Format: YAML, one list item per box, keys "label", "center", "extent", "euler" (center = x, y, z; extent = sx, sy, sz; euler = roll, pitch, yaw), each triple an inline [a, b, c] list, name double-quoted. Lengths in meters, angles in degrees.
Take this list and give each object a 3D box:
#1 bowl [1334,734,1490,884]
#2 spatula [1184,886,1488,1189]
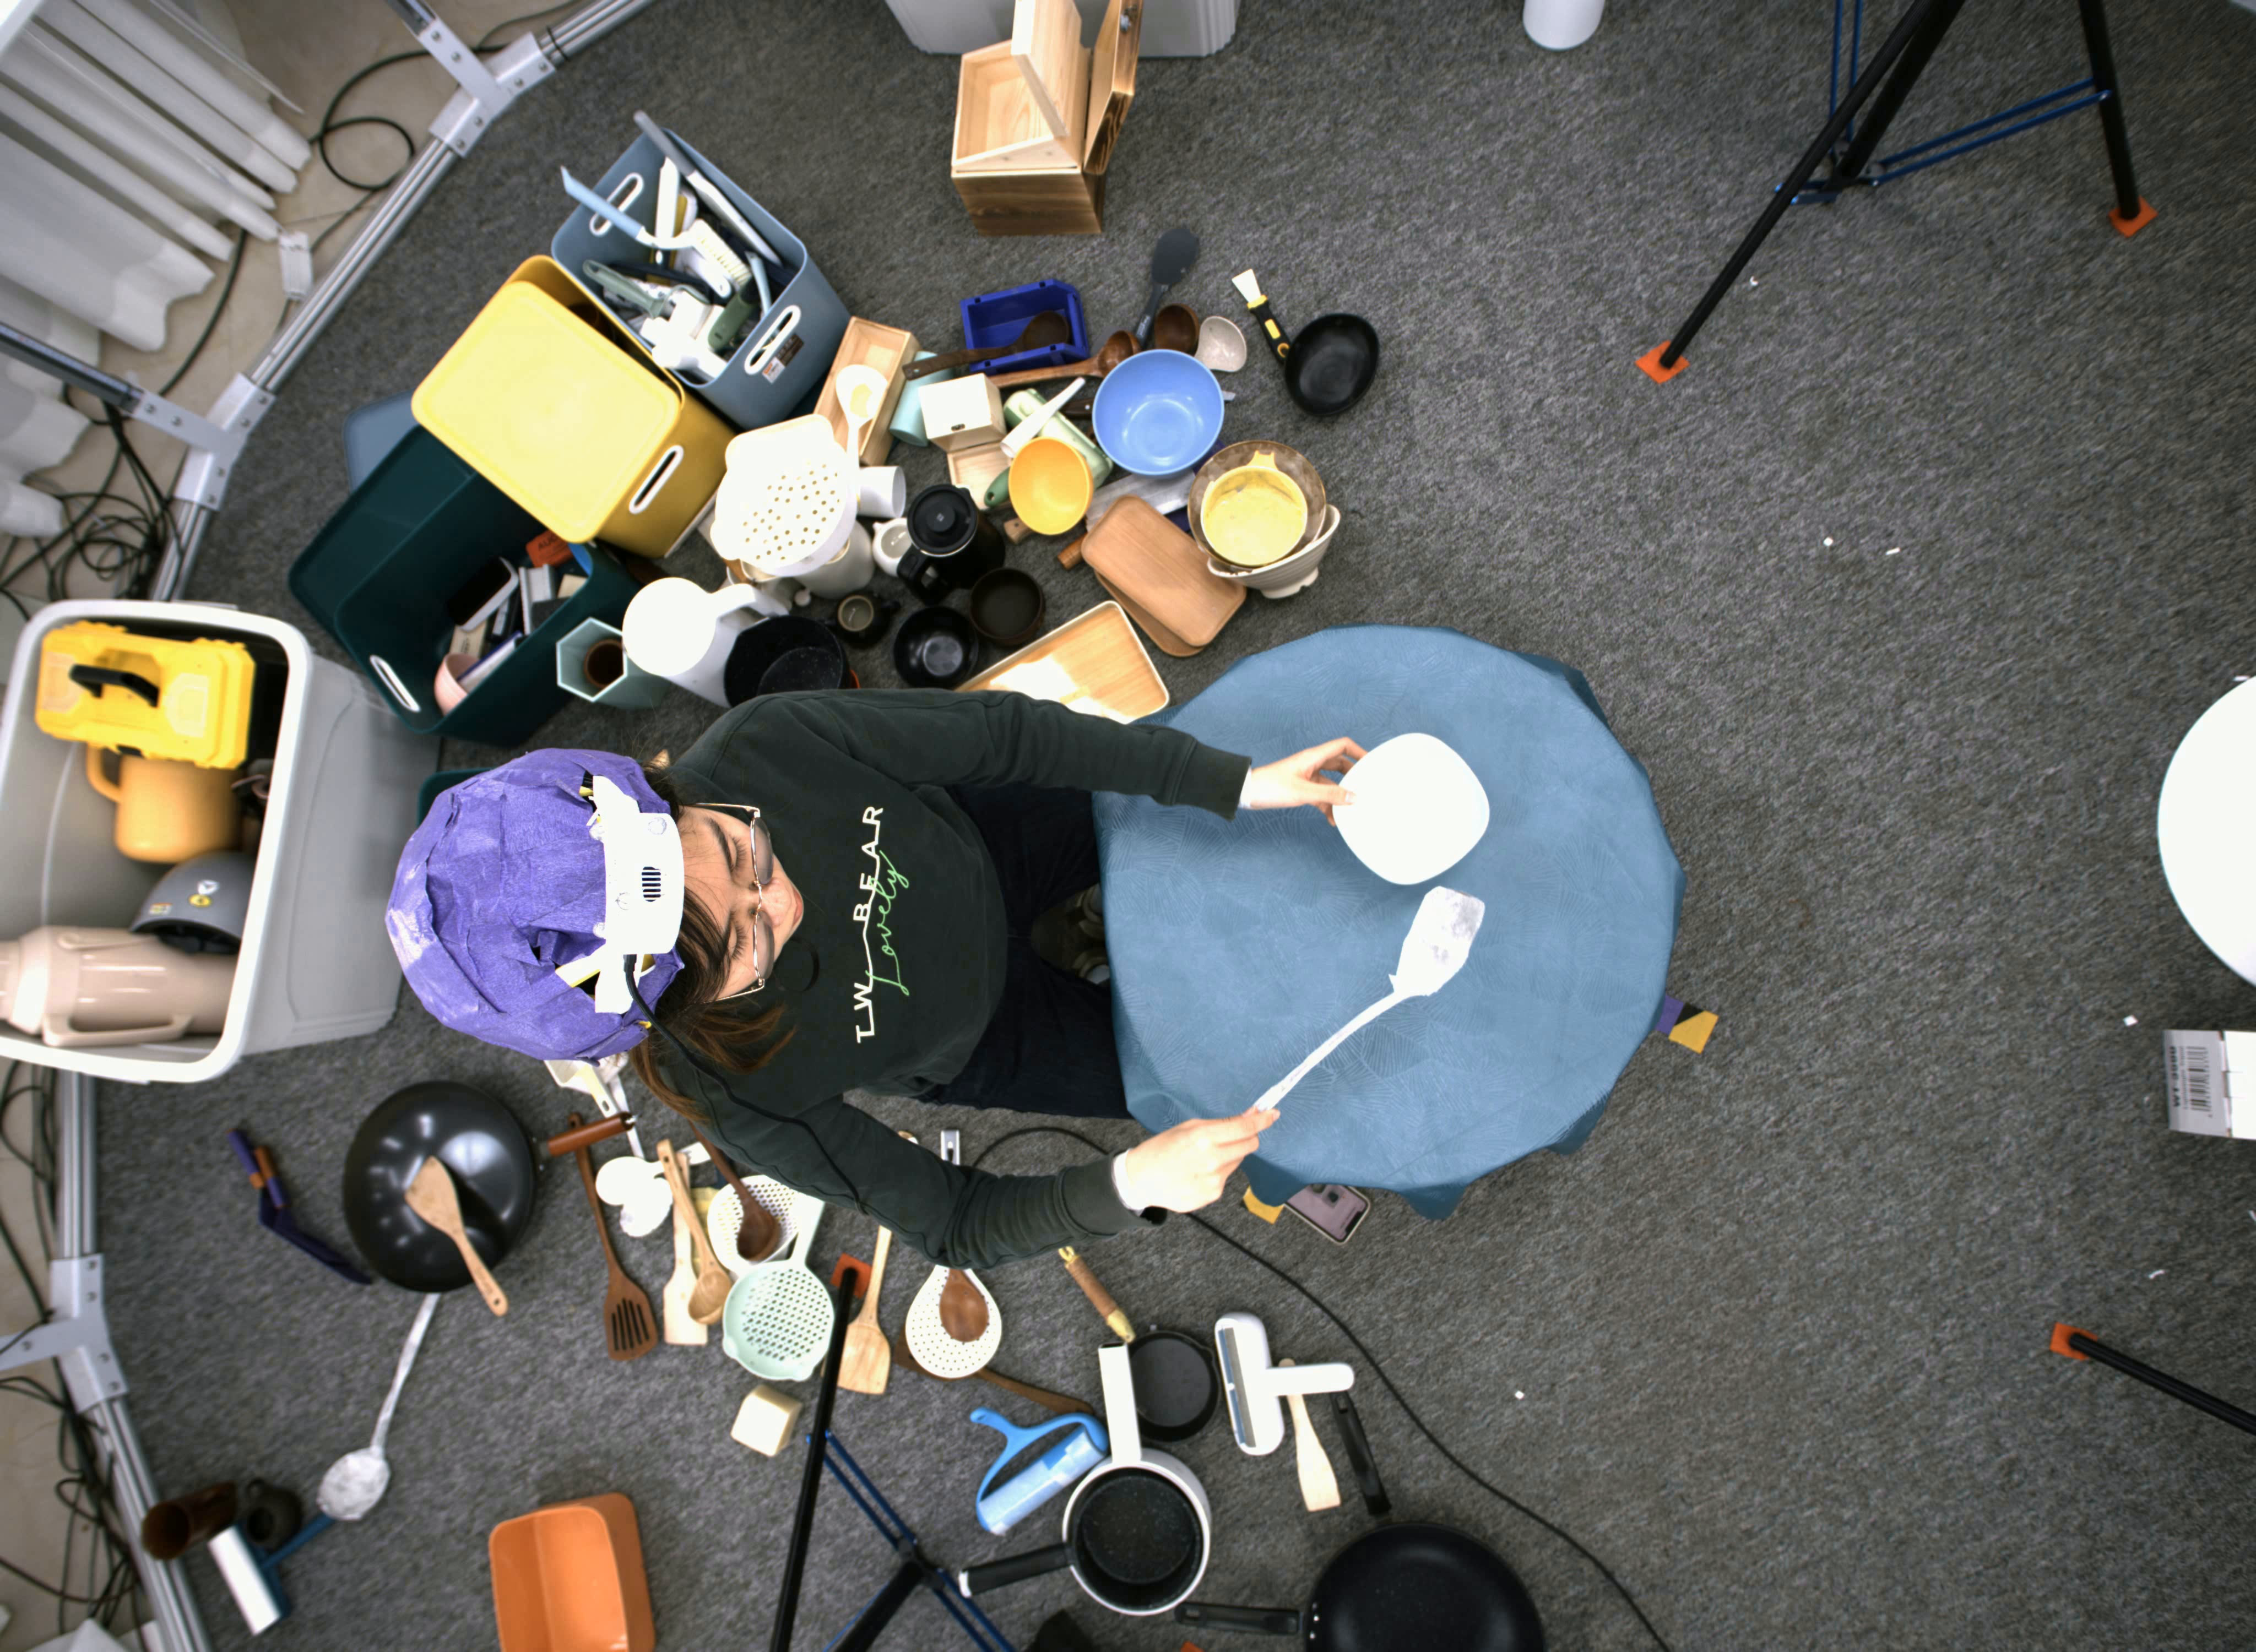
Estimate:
- label: "bowl"
  center: [0.280, -0.023, 1.372]
  extent: [0.152, 0.058, 0.153]
  euler: [1, 106, 5]
- label: "spatula"
  center: [0.178, 0.189, 1.223]
  extent: [0.364, 0.098, 0.045]
  euler: [-40, 112, -4]
